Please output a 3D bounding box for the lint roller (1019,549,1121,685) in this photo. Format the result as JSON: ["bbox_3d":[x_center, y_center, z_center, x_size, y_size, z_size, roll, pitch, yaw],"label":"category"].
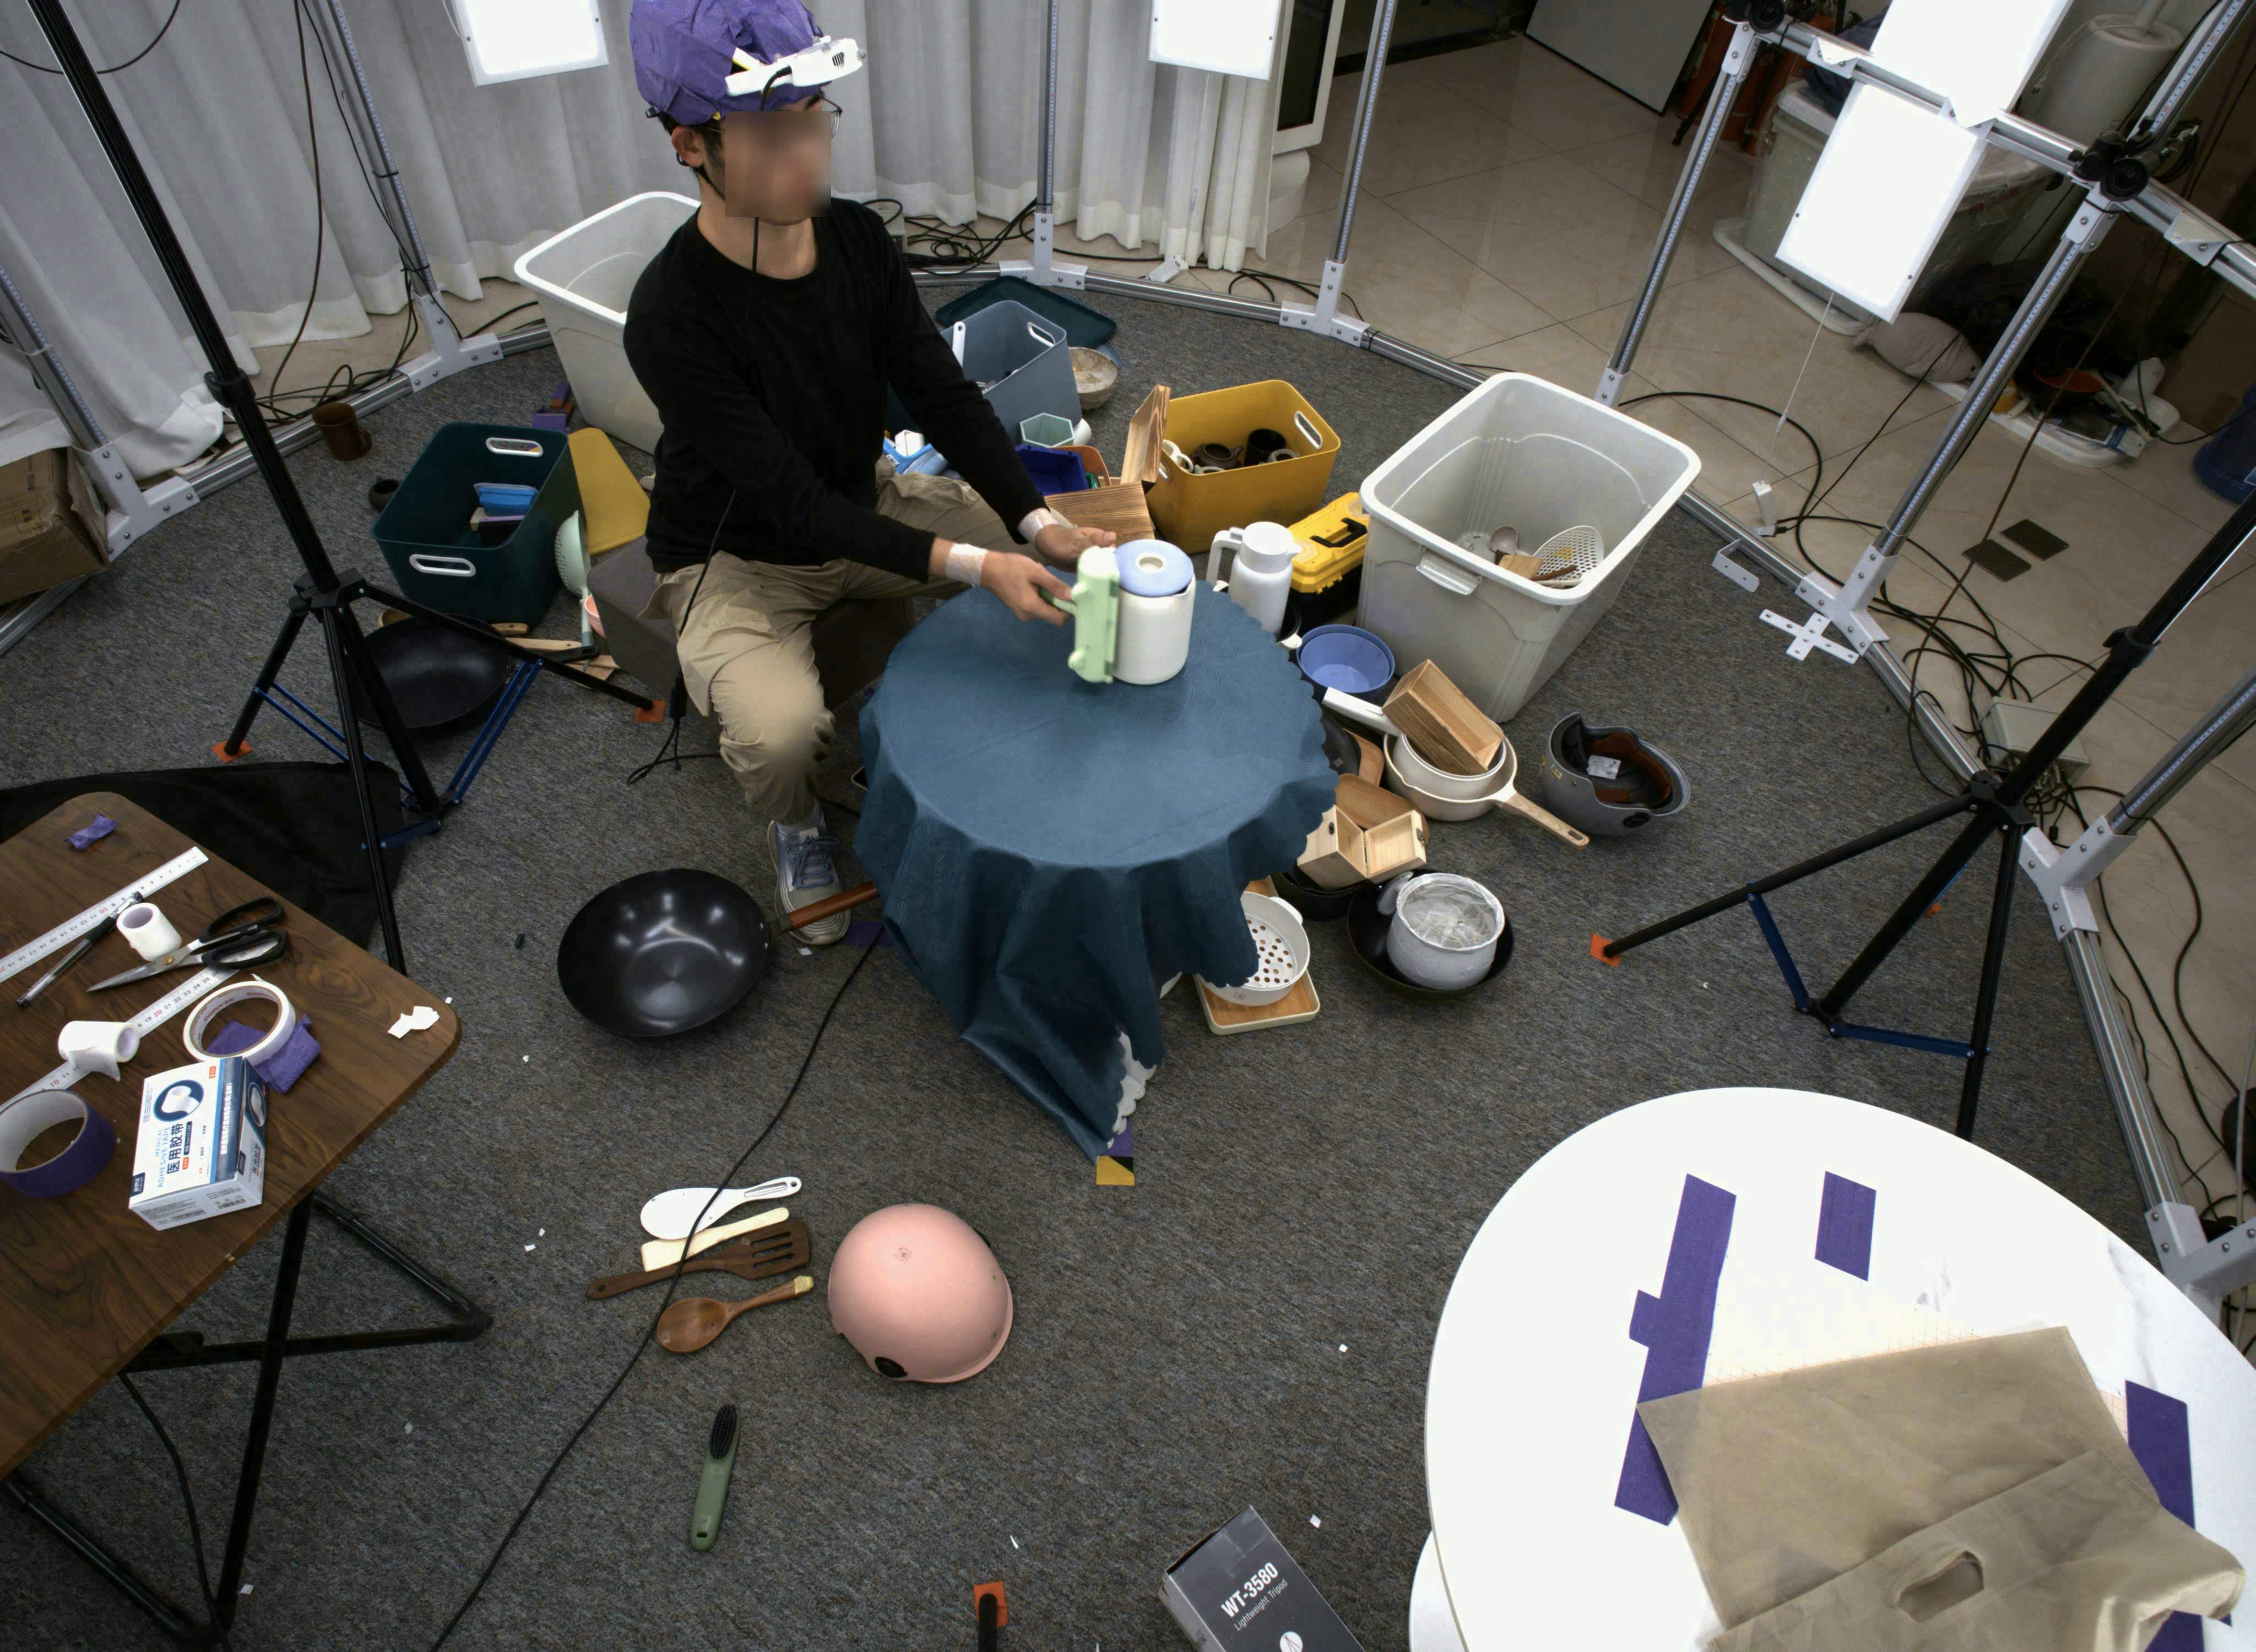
[{"bbox_3d":[-0.090,-0.300,1.768,0.185,0.194,0.083,26,50,20],"label":"lint roller"}]

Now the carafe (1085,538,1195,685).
[{"bbox_3d":[0.007,-0.317,1.834,0.194,0.178,0.133,35,55,26],"label":"carafe"}]
